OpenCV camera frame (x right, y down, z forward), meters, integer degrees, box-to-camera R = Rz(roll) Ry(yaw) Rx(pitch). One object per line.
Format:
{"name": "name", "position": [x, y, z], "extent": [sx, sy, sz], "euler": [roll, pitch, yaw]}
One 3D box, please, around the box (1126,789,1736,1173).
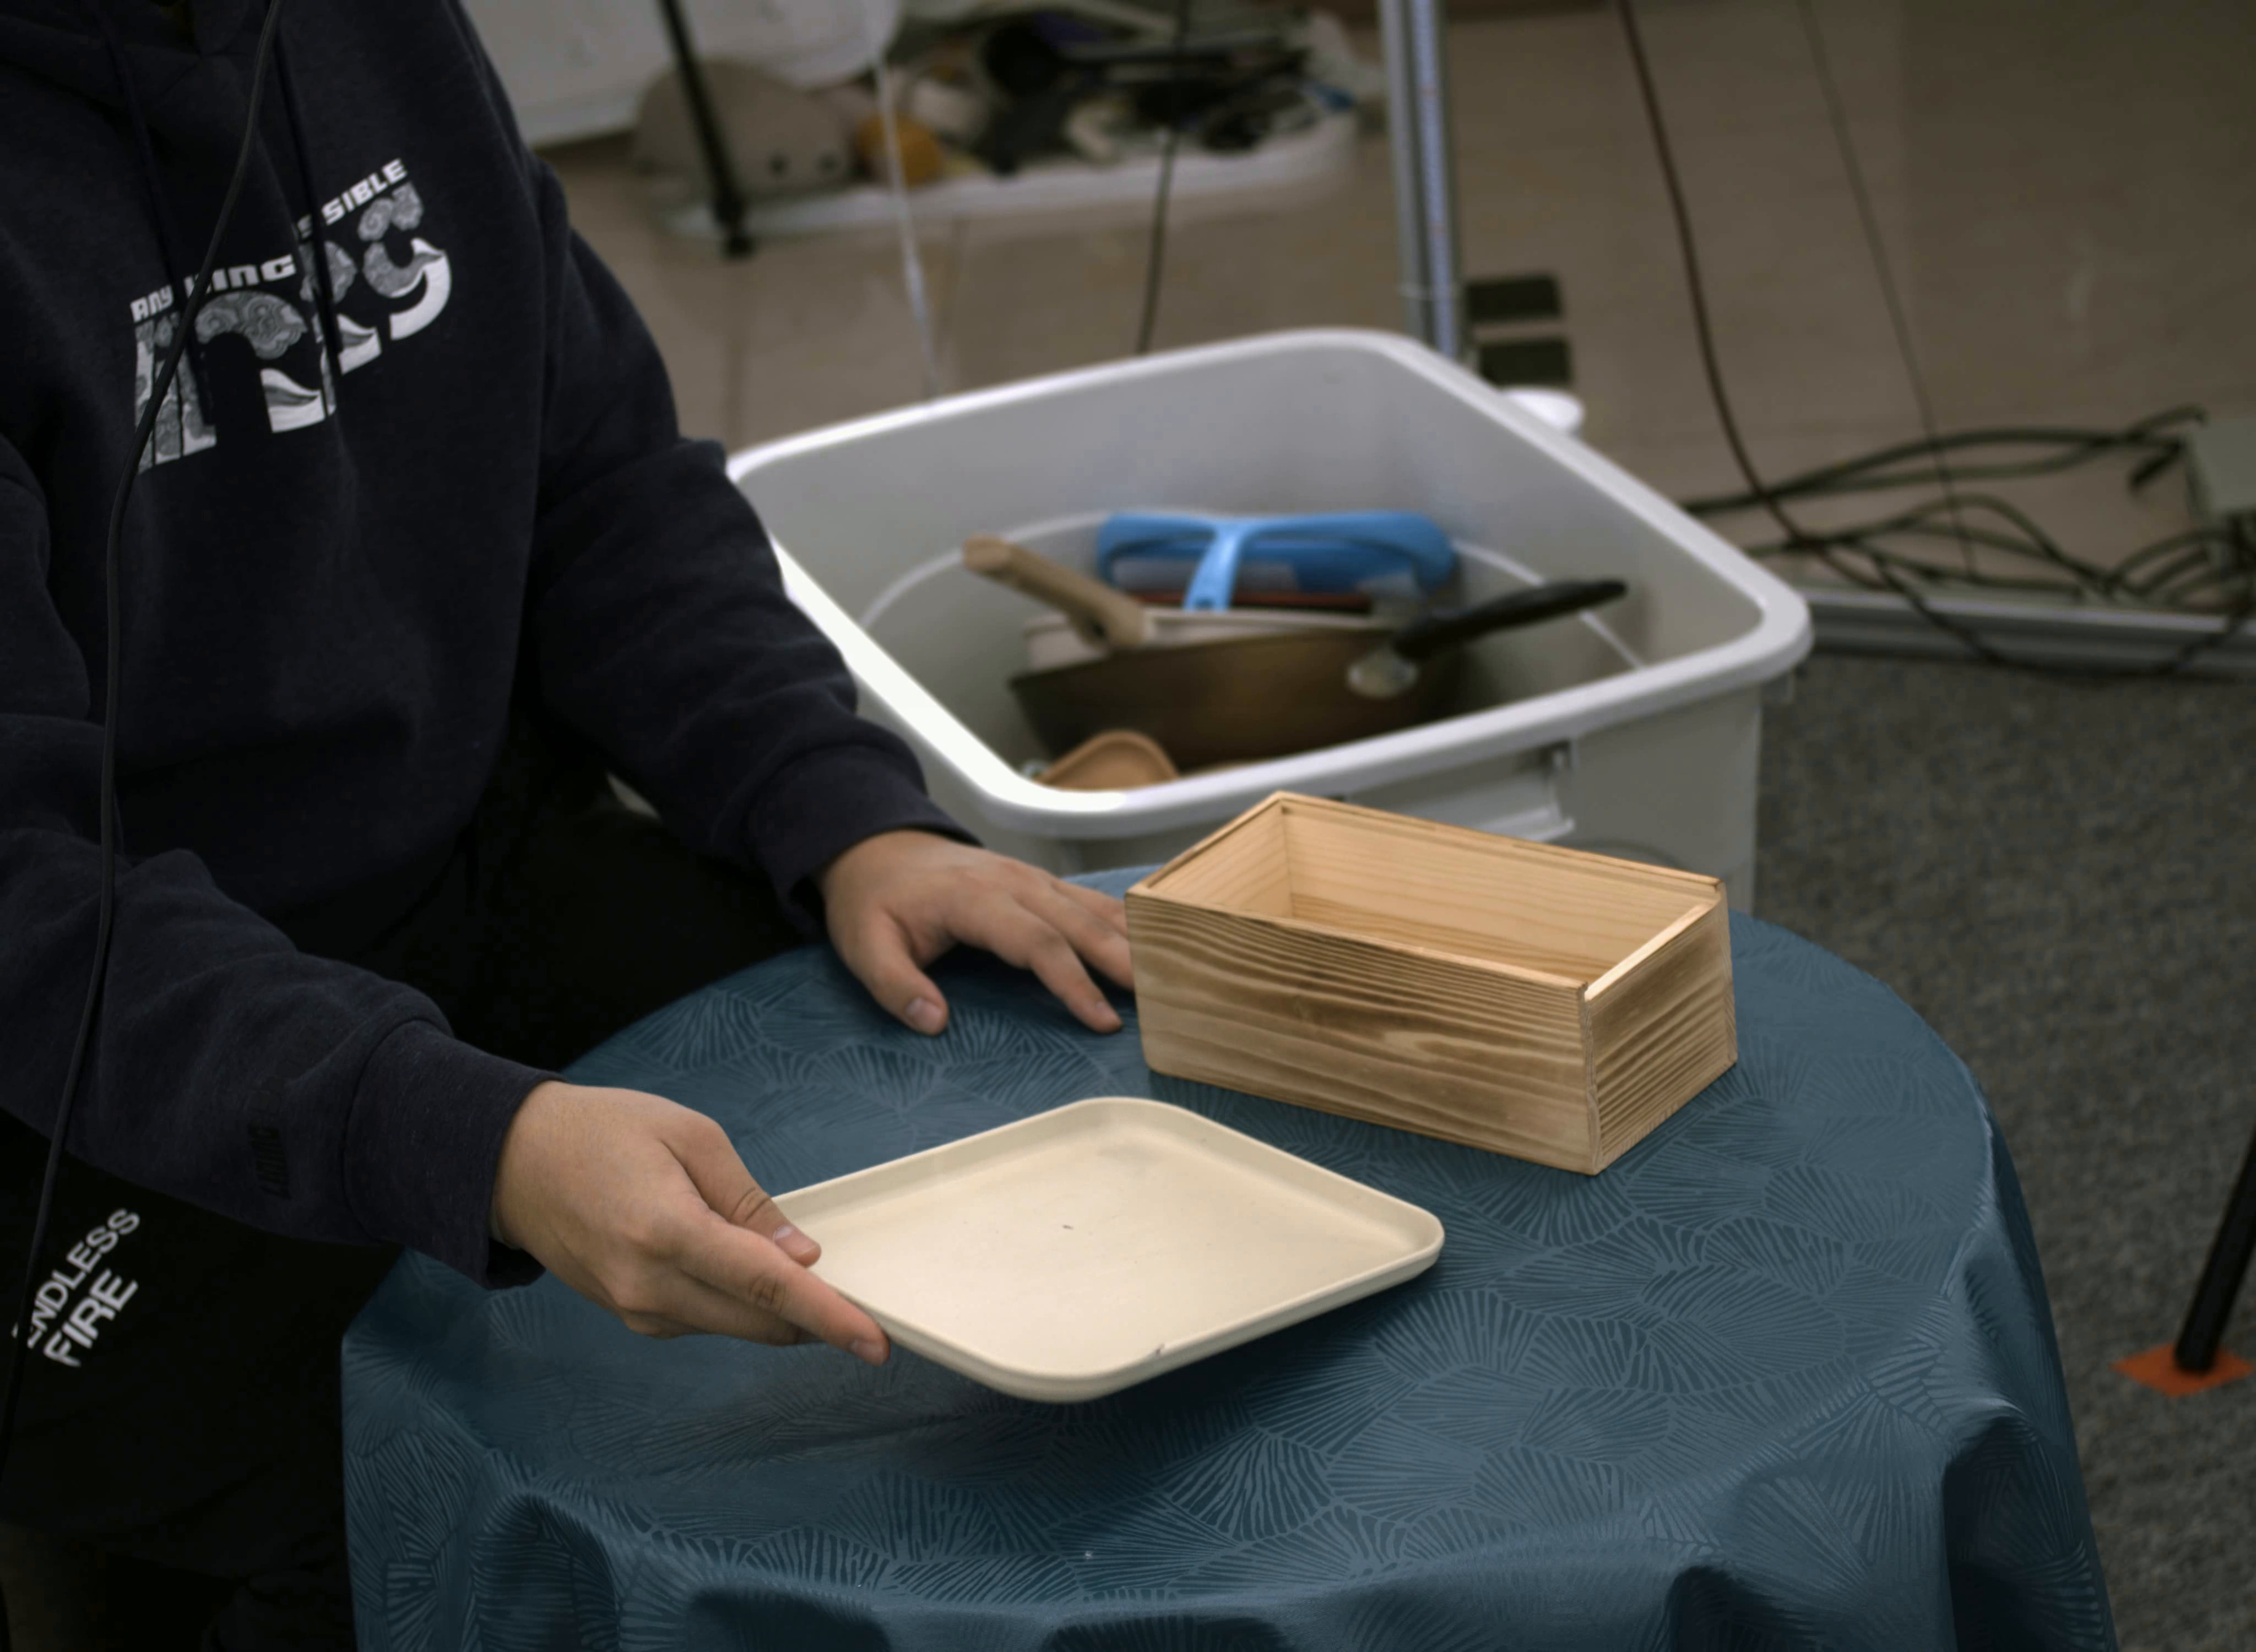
{"name": "box", "position": [0.117, 0.057, 2.200], "extent": [0.210, 0.081, 0.106], "euler": [12, 30, 35]}

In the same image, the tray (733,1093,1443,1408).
{"name": "tray", "position": [-0.013, 0.151, 2.034], "extent": [0.170, 0.018, 0.238], "euler": [21, 24, 35]}
